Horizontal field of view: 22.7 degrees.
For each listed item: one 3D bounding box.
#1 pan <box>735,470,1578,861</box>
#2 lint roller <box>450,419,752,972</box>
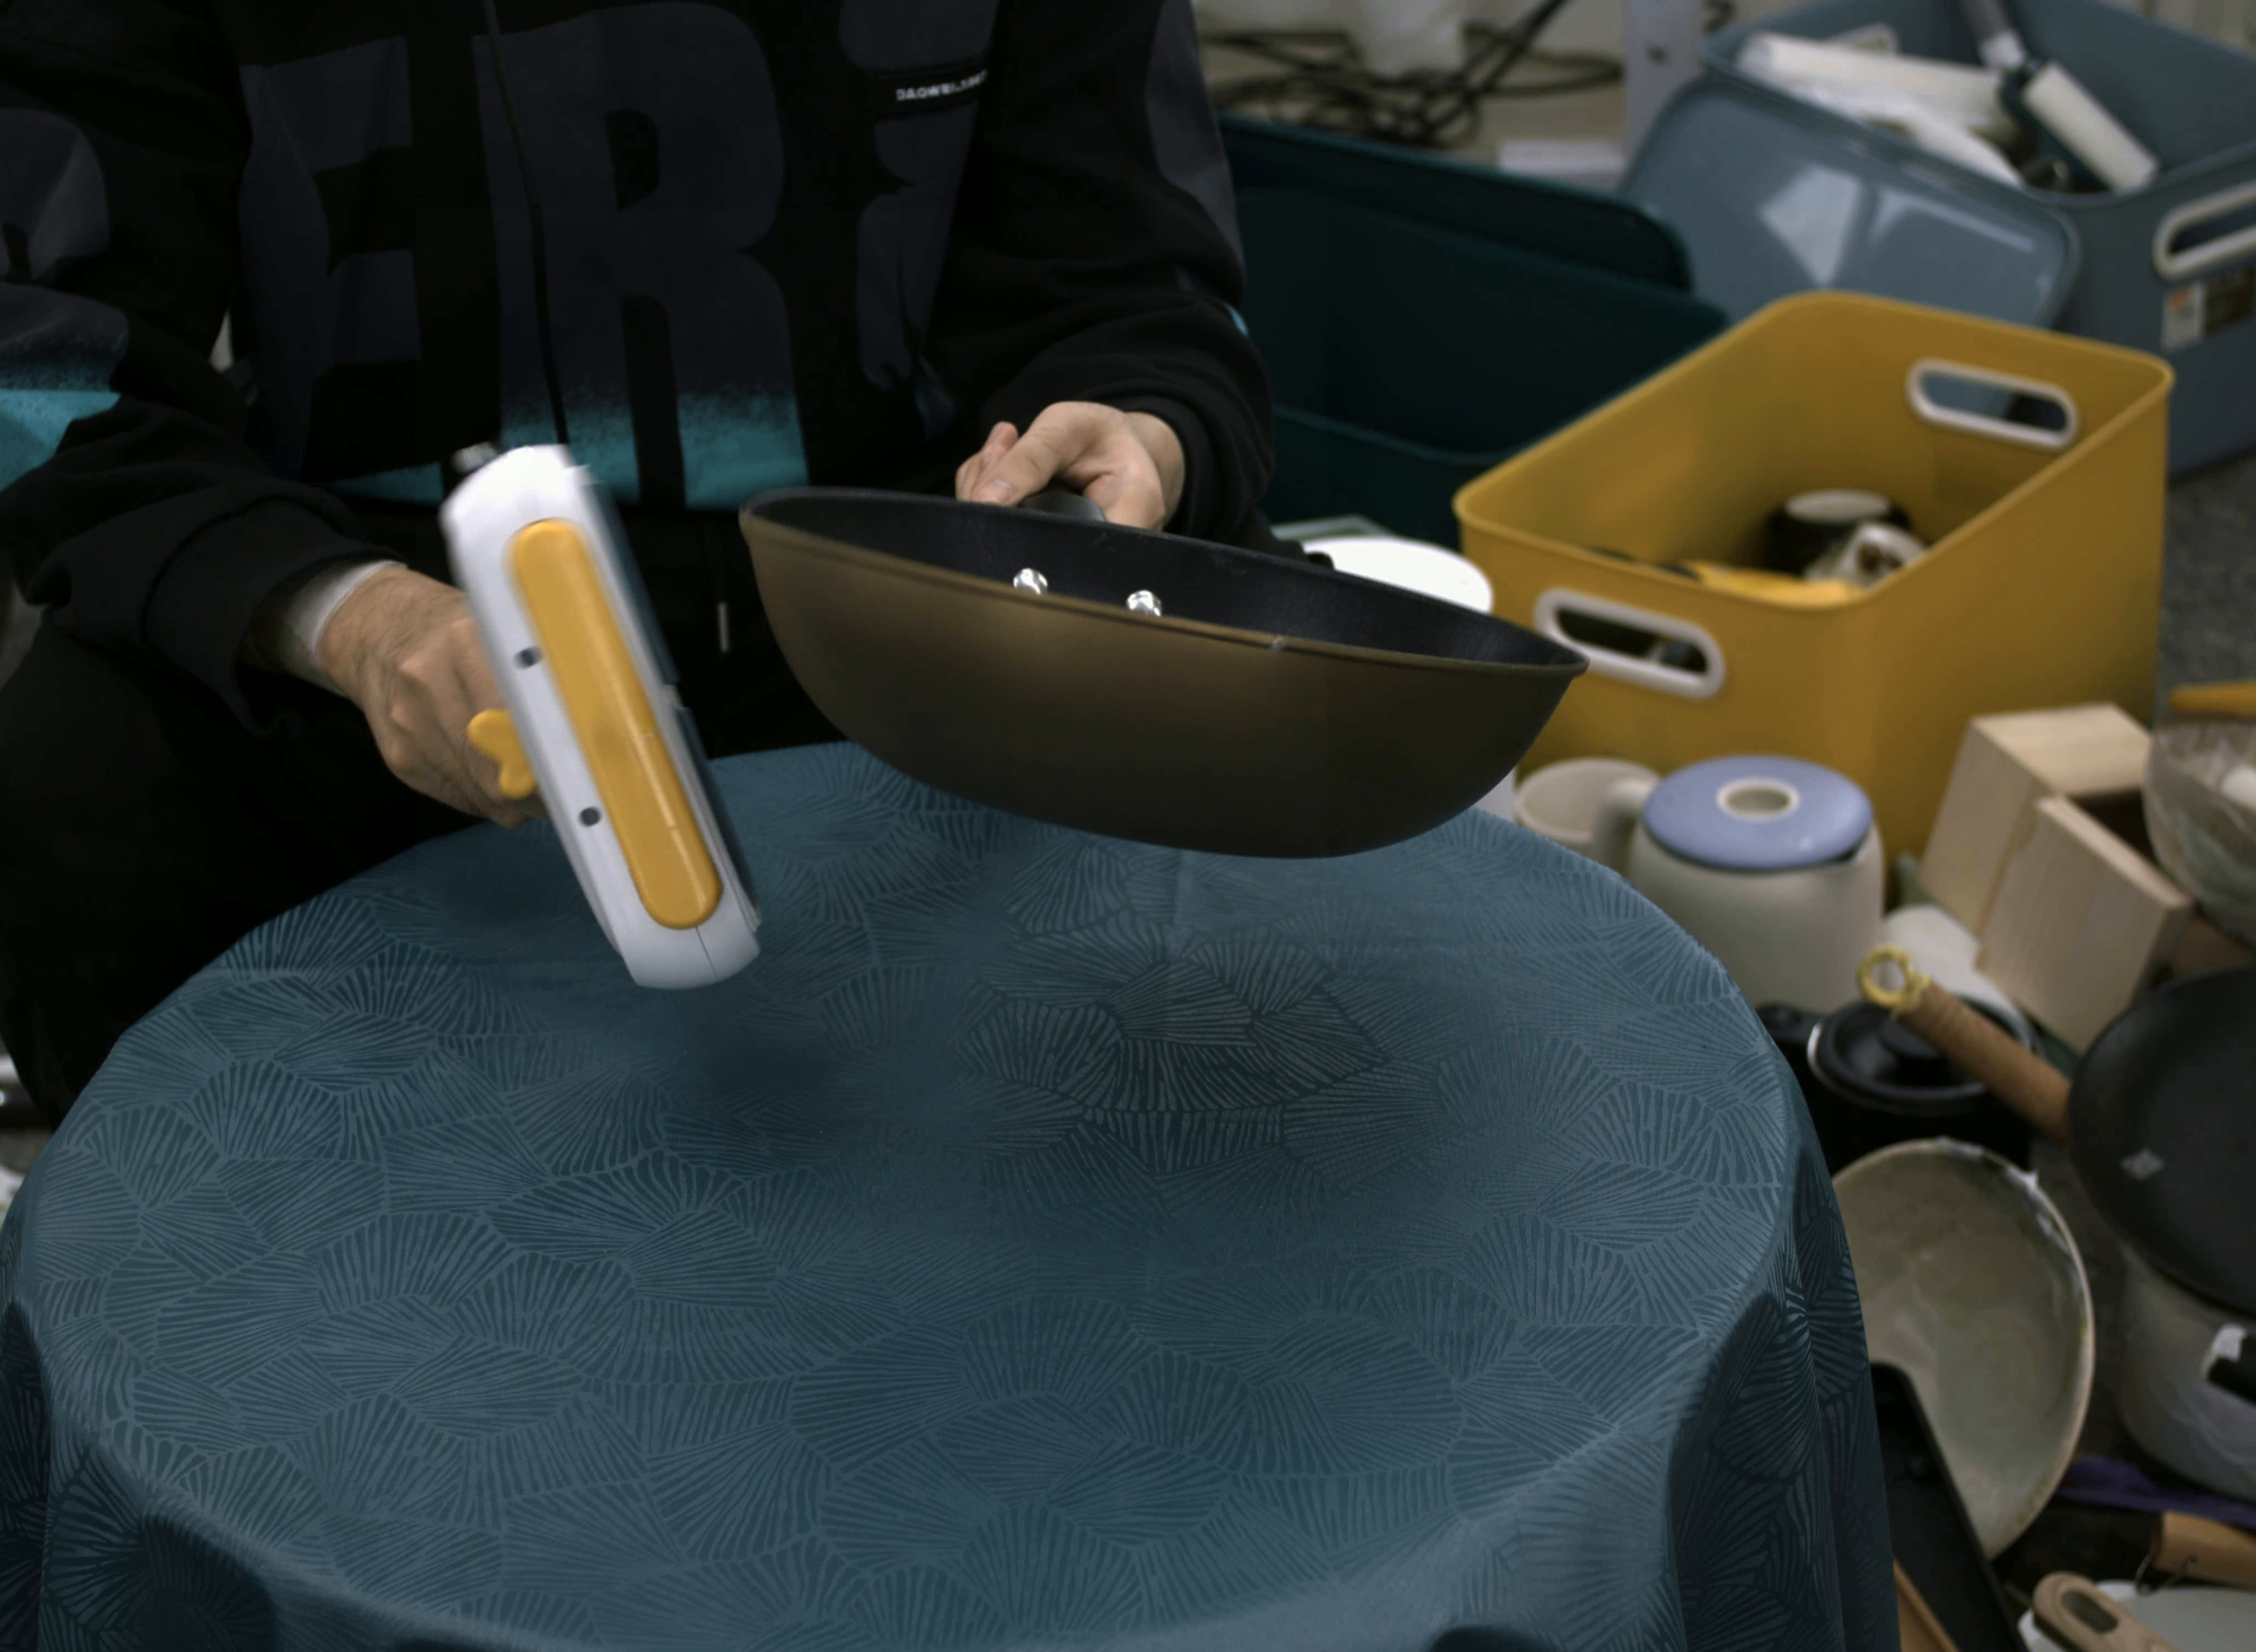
[{"bbox_3d":[-0.013,-0.062,1.942,0.287,0.087,0.464,11,7,-12],"label":"pan"},{"bbox_3d":[-0.196,-0.038,1.961,0.074,0.193,0.191,-24,2,-13],"label":"lint roller"}]
